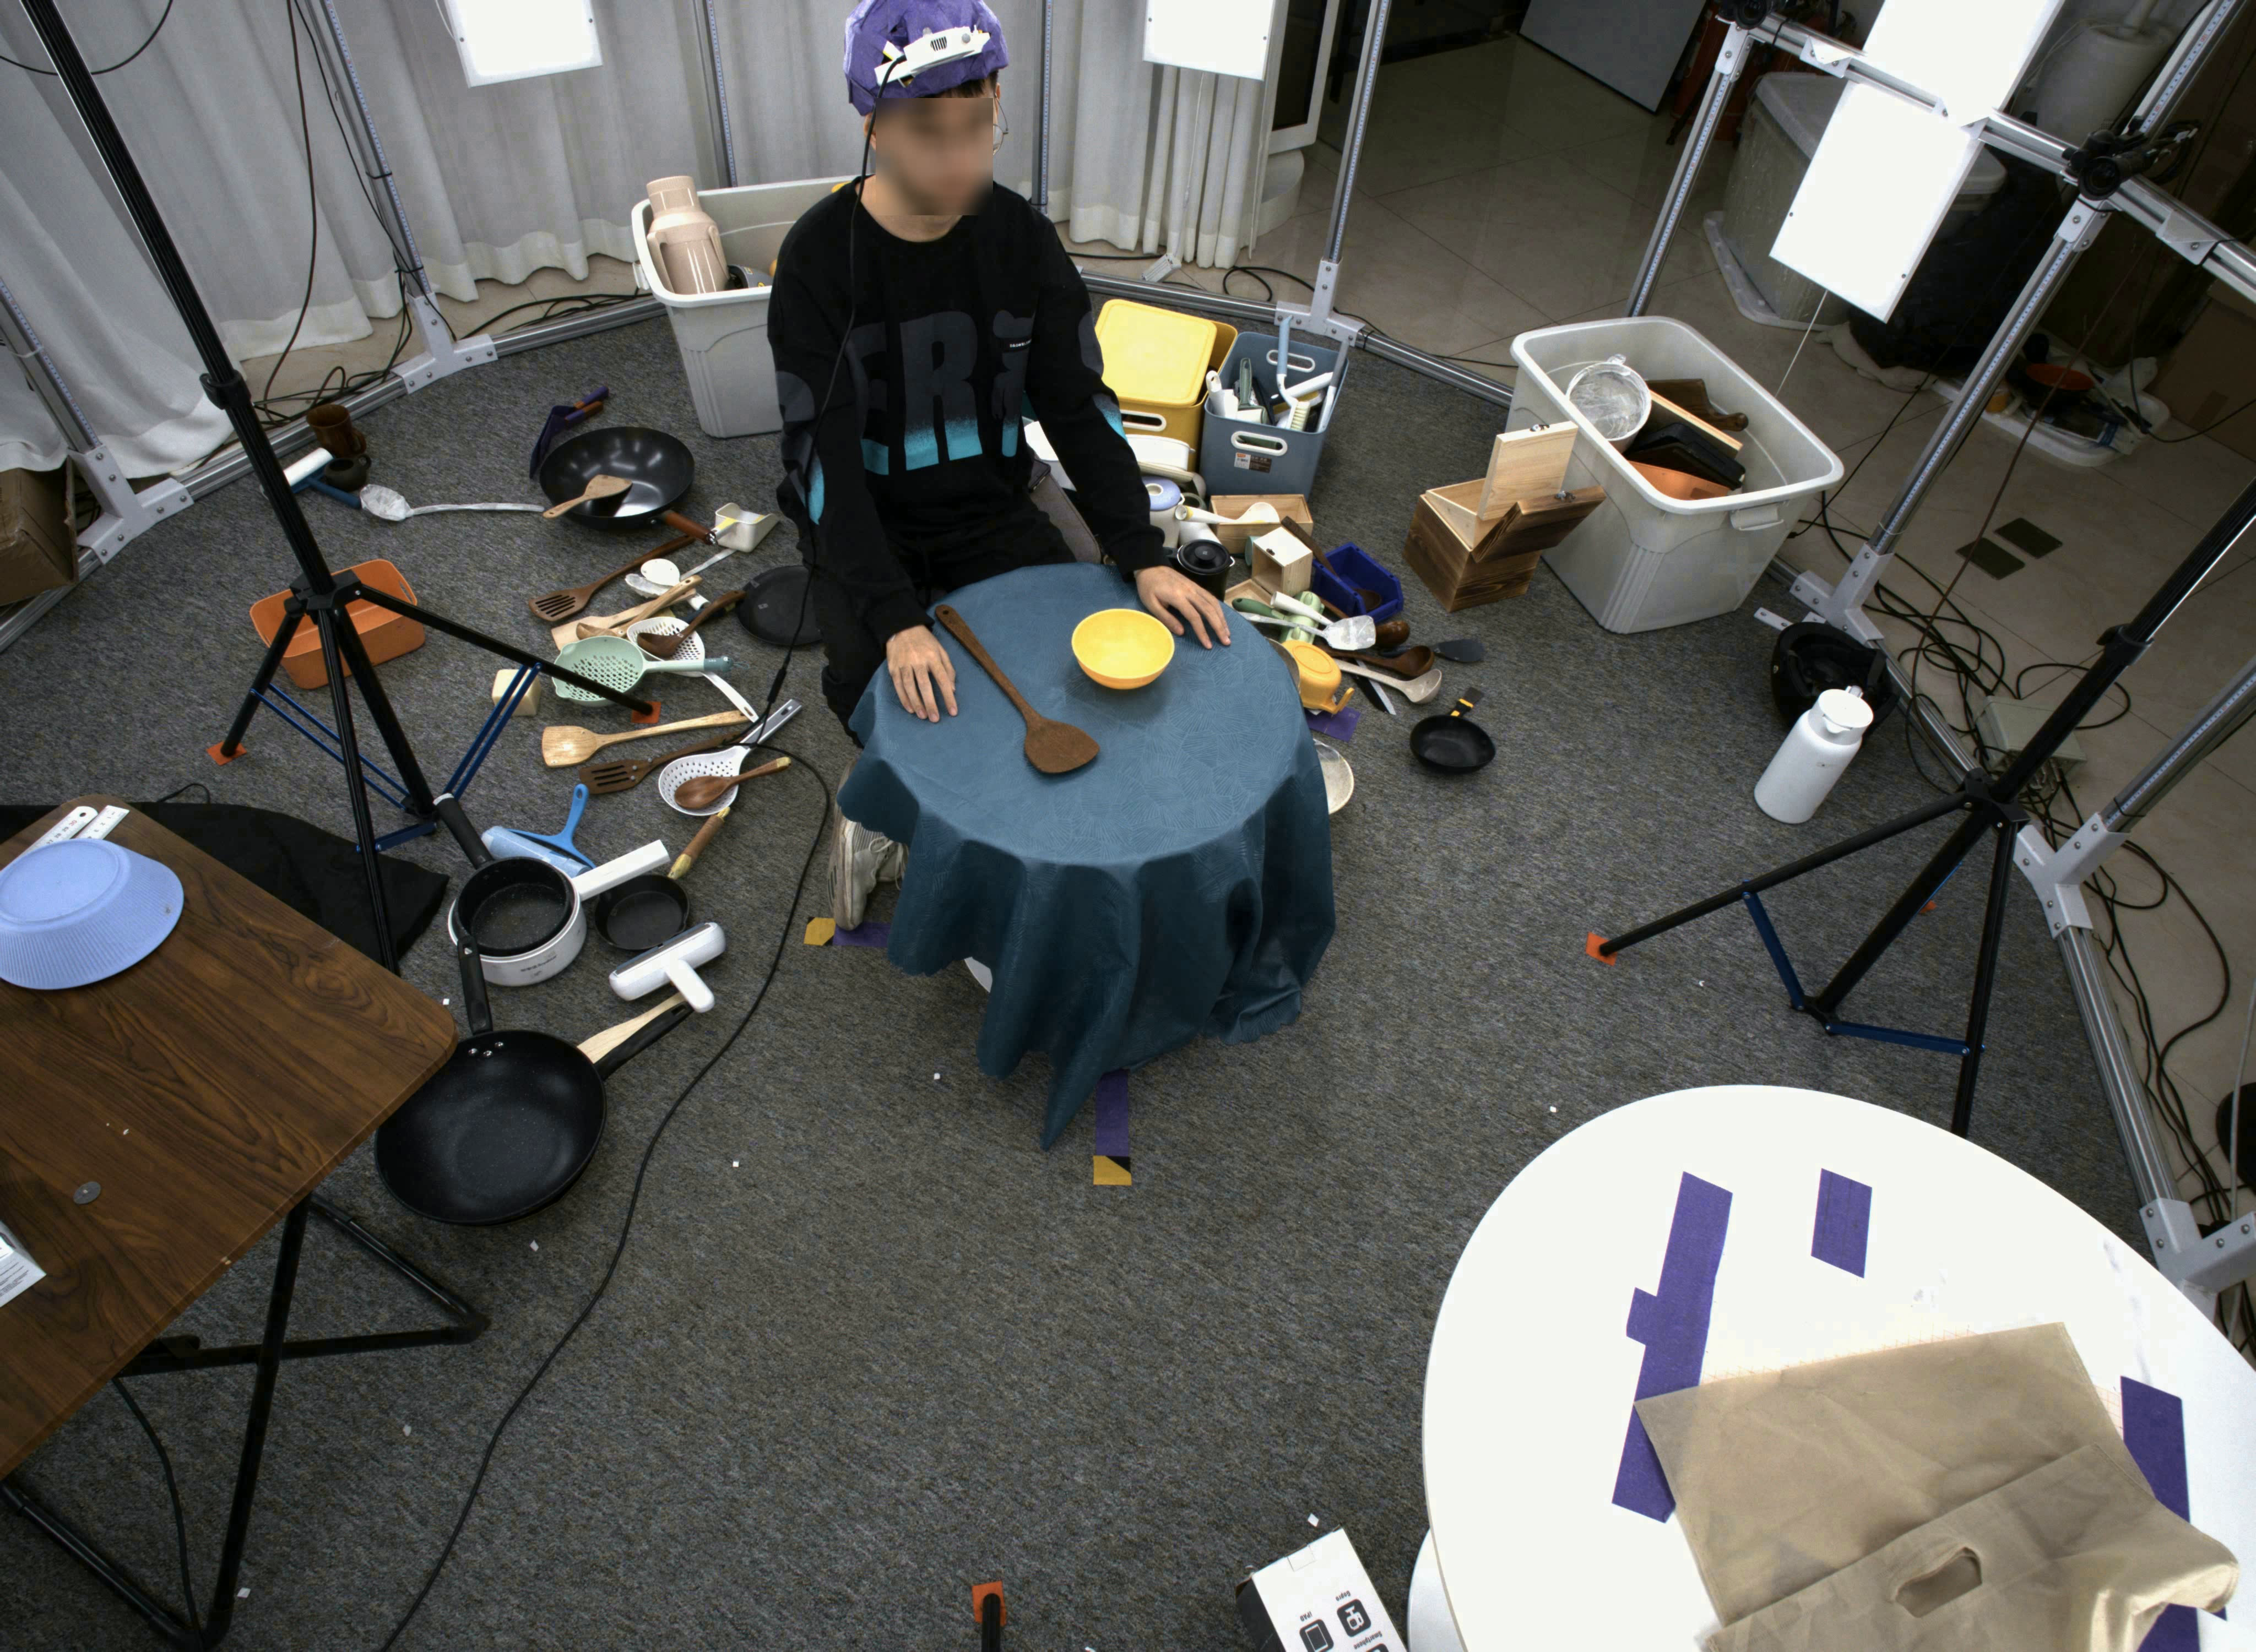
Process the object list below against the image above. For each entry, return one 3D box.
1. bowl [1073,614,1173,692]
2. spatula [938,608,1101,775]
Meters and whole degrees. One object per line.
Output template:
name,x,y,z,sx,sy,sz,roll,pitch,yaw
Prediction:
bowl,-0.009,-0.238,1.856,0.145,0.058,0.149,3,47,-3
spatula,-0.174,-0.203,1.840,0.096,0.015,0.394,-24,54,-23
